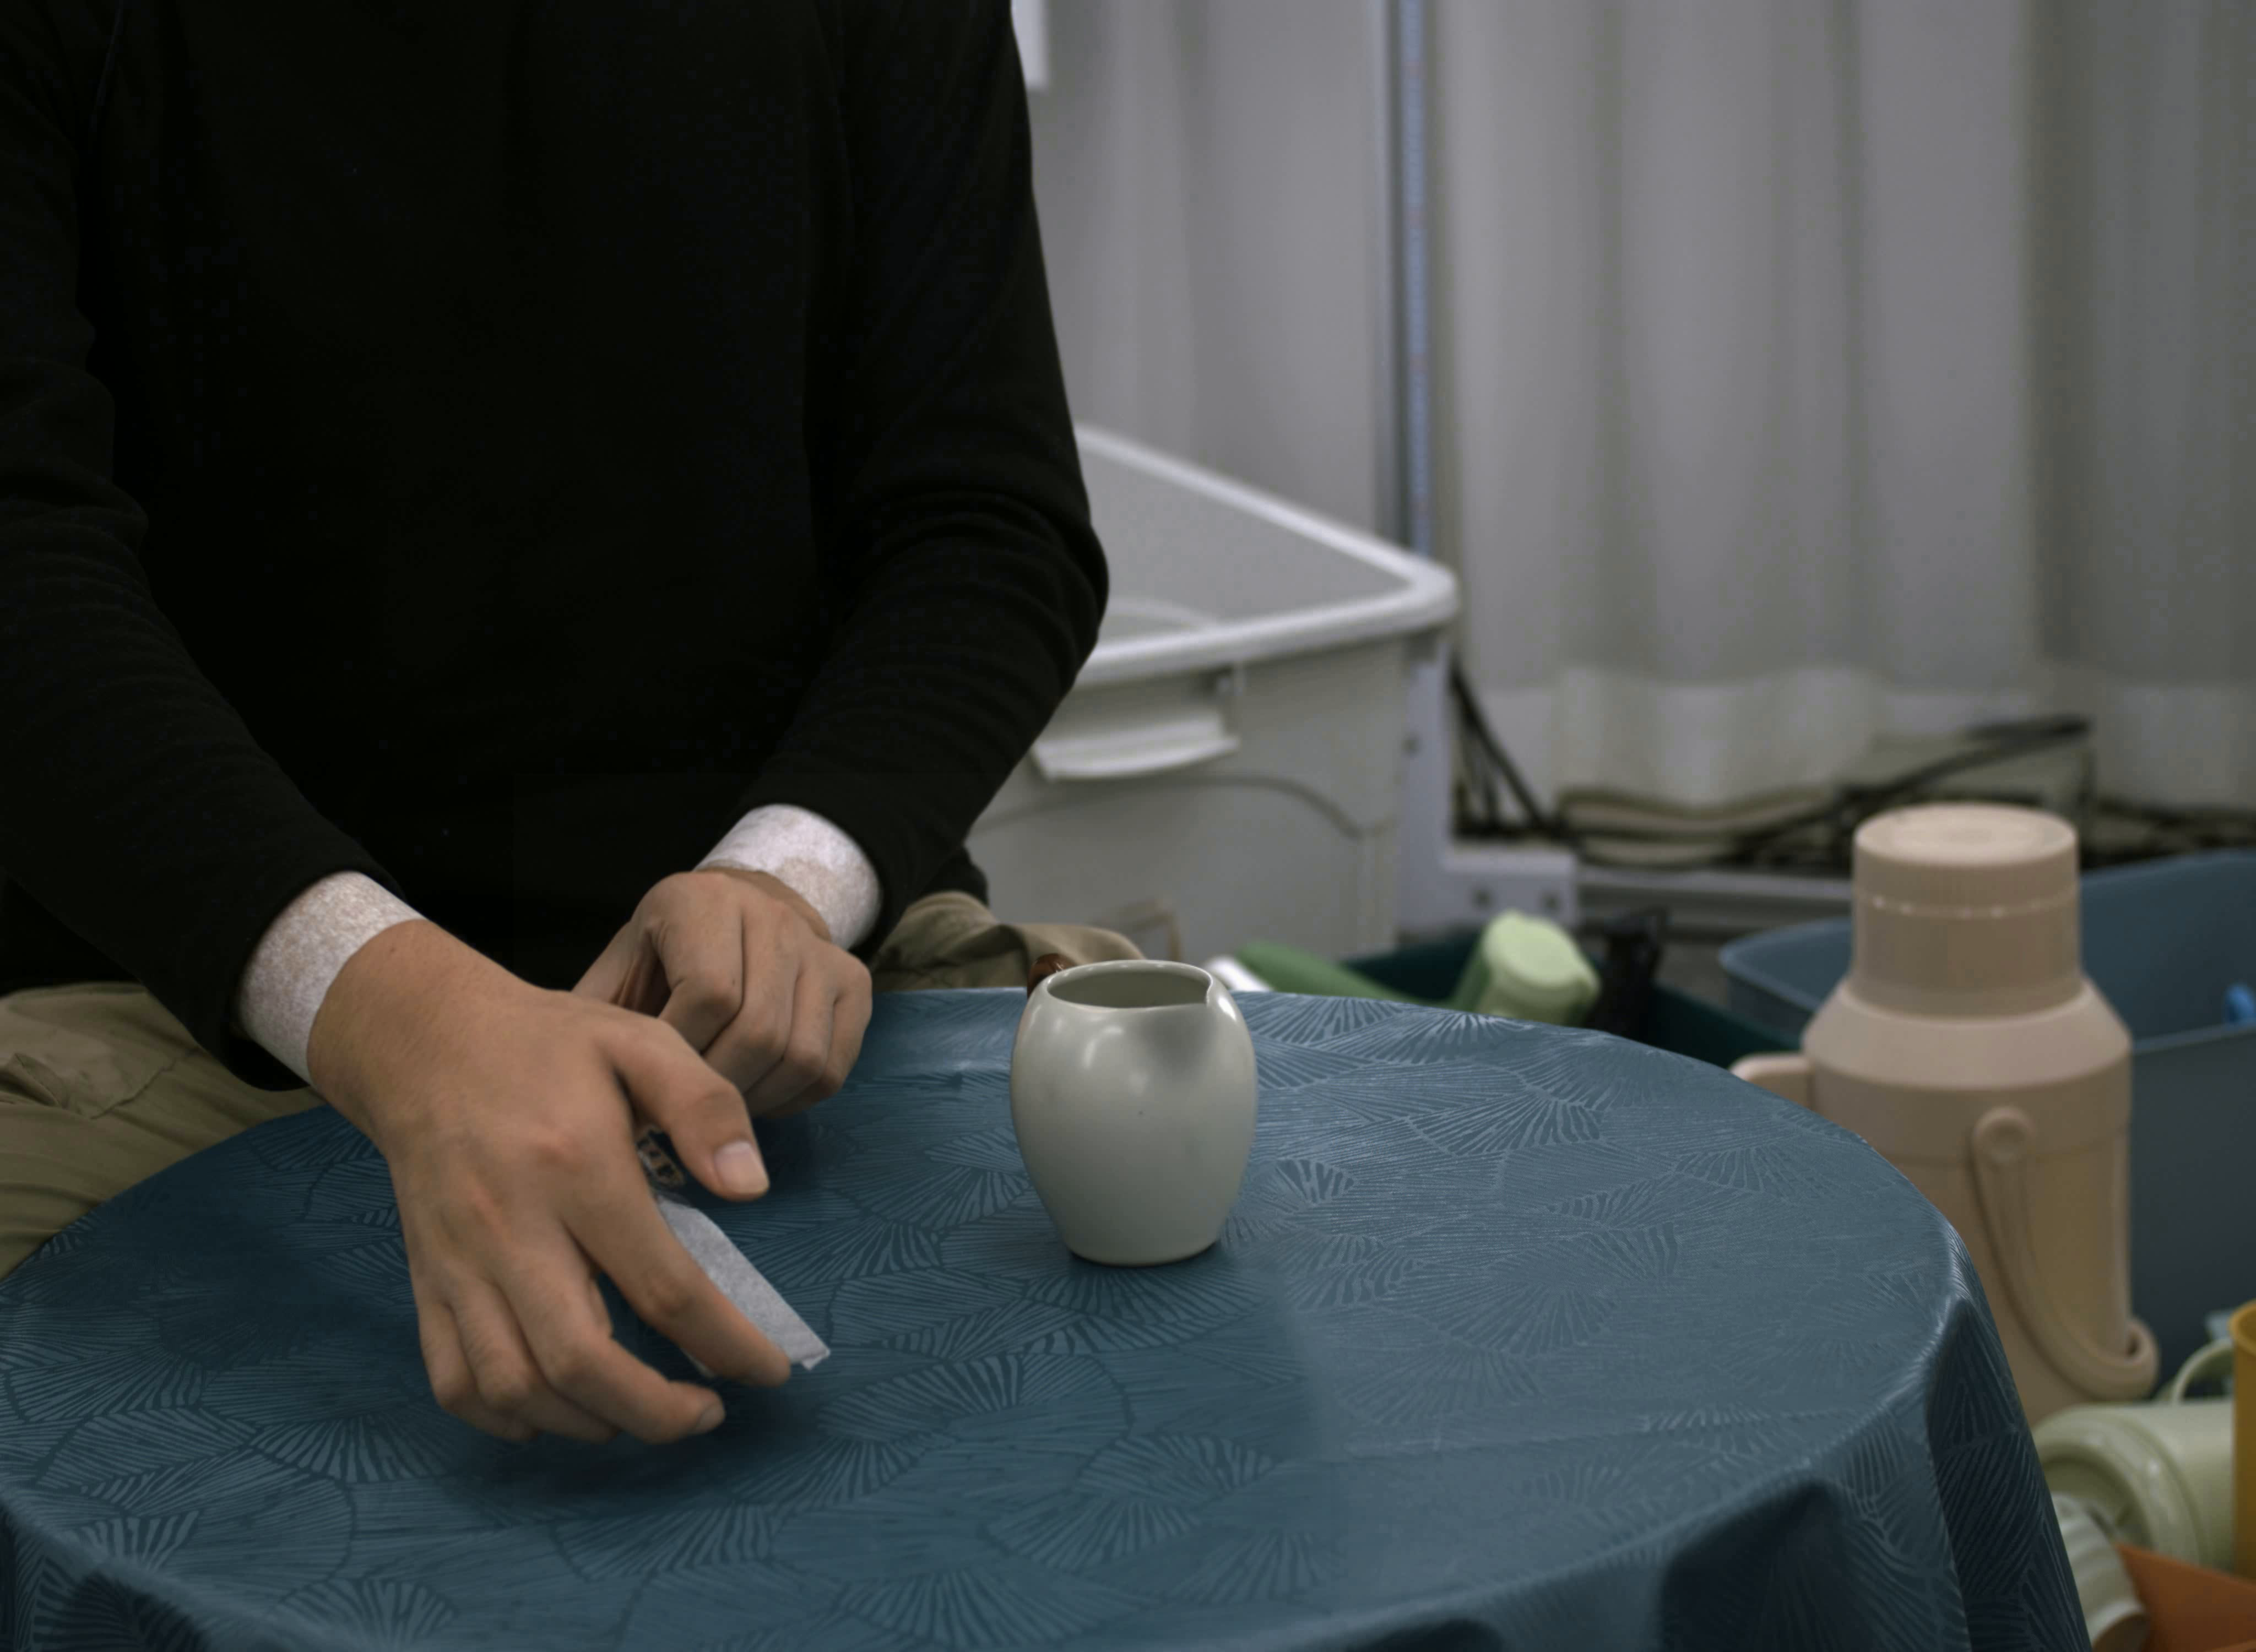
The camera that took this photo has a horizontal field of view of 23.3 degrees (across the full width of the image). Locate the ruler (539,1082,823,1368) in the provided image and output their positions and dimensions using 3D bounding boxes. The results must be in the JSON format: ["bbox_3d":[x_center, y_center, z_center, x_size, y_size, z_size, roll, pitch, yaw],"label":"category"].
[{"bbox_3d":[-0.137,0.114,1.610,0.038,0.024,0.220,-14,16,-15],"label":"ruler"}]

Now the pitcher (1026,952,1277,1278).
[{"bbox_3d":[0.004,0.086,1.654,0.075,0.087,0.120,-5,15,-22],"label":"pitcher"}]
